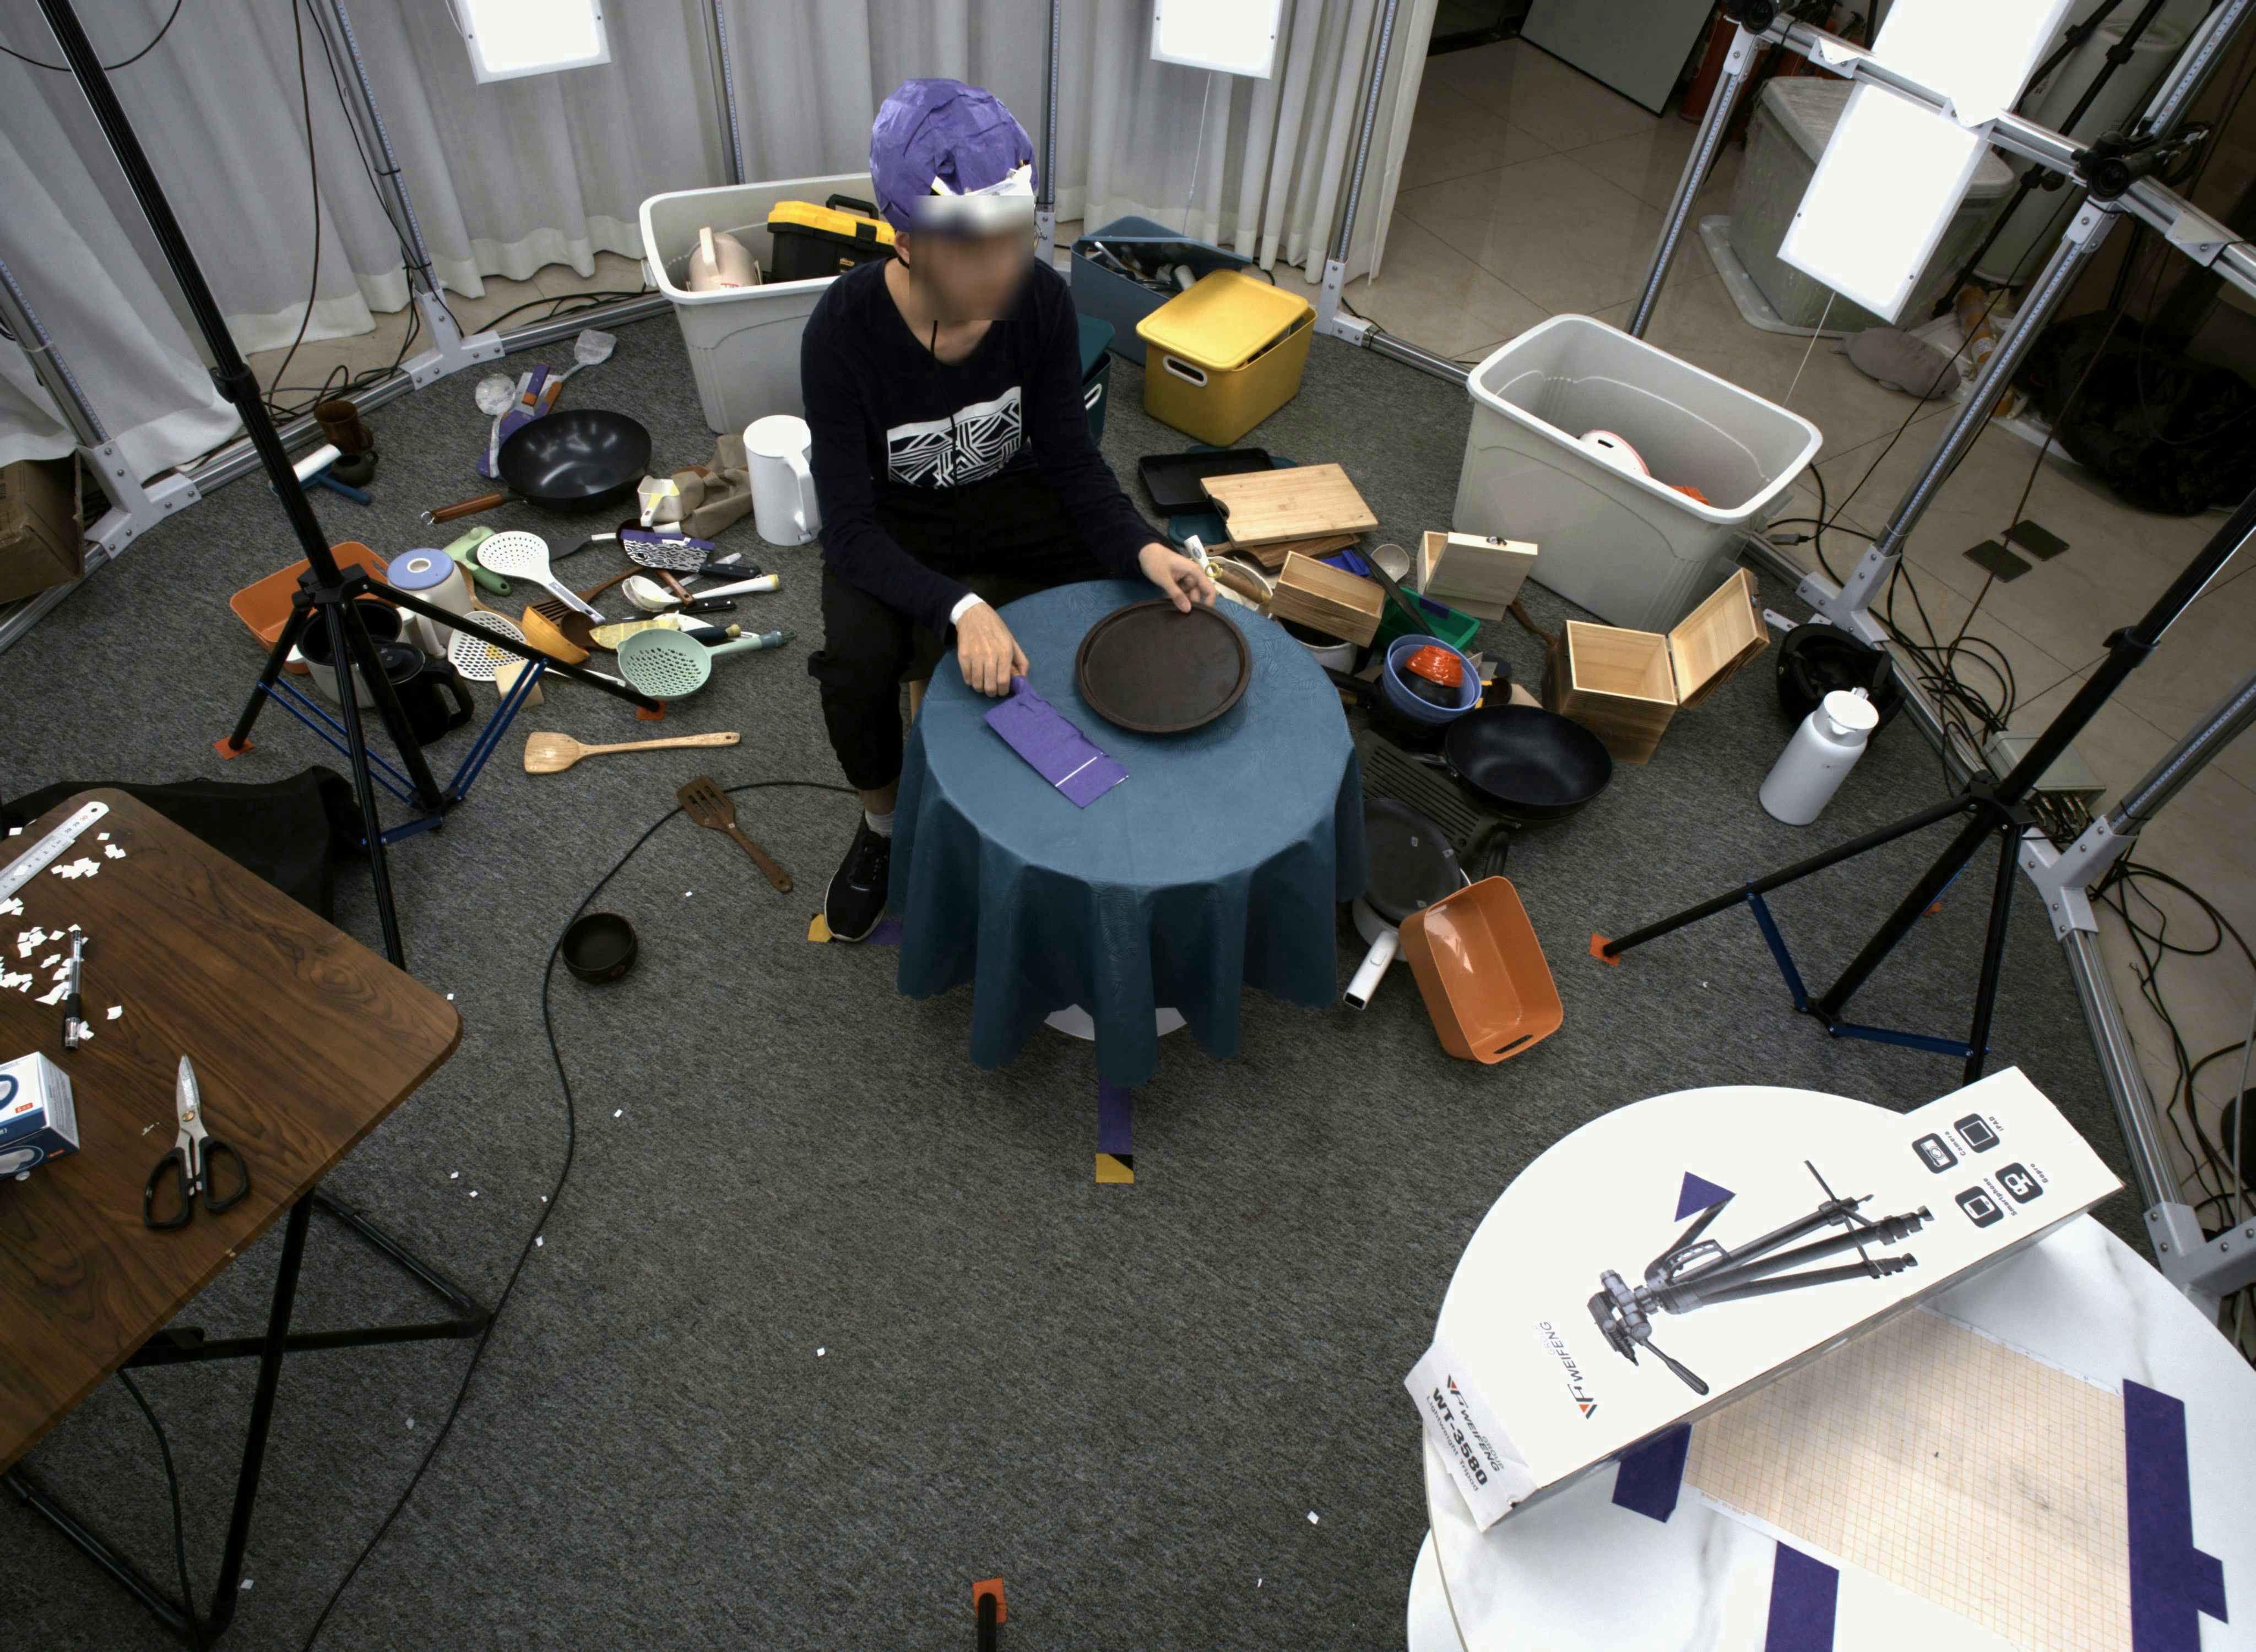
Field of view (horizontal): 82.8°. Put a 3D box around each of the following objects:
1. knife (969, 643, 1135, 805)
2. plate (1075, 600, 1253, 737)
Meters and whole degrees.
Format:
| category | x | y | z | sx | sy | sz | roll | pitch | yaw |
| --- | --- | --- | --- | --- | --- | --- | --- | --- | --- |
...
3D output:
| category | x | y | z | sx | sy | sz | roll | pitch | yaw |
| --- | --- | --- | --- | --- | --- | --- | --- | --- | --- |
| knife | -0.132 | -0.144 | 1.764 | 0.105 | 0.031 | 0.320 | -34 | 60 | -29 |
| plate | 0.051 | -0.226 | 1.831 | 0.255 | 0.028 | 0.261 | -2 | 55 | 2 |
